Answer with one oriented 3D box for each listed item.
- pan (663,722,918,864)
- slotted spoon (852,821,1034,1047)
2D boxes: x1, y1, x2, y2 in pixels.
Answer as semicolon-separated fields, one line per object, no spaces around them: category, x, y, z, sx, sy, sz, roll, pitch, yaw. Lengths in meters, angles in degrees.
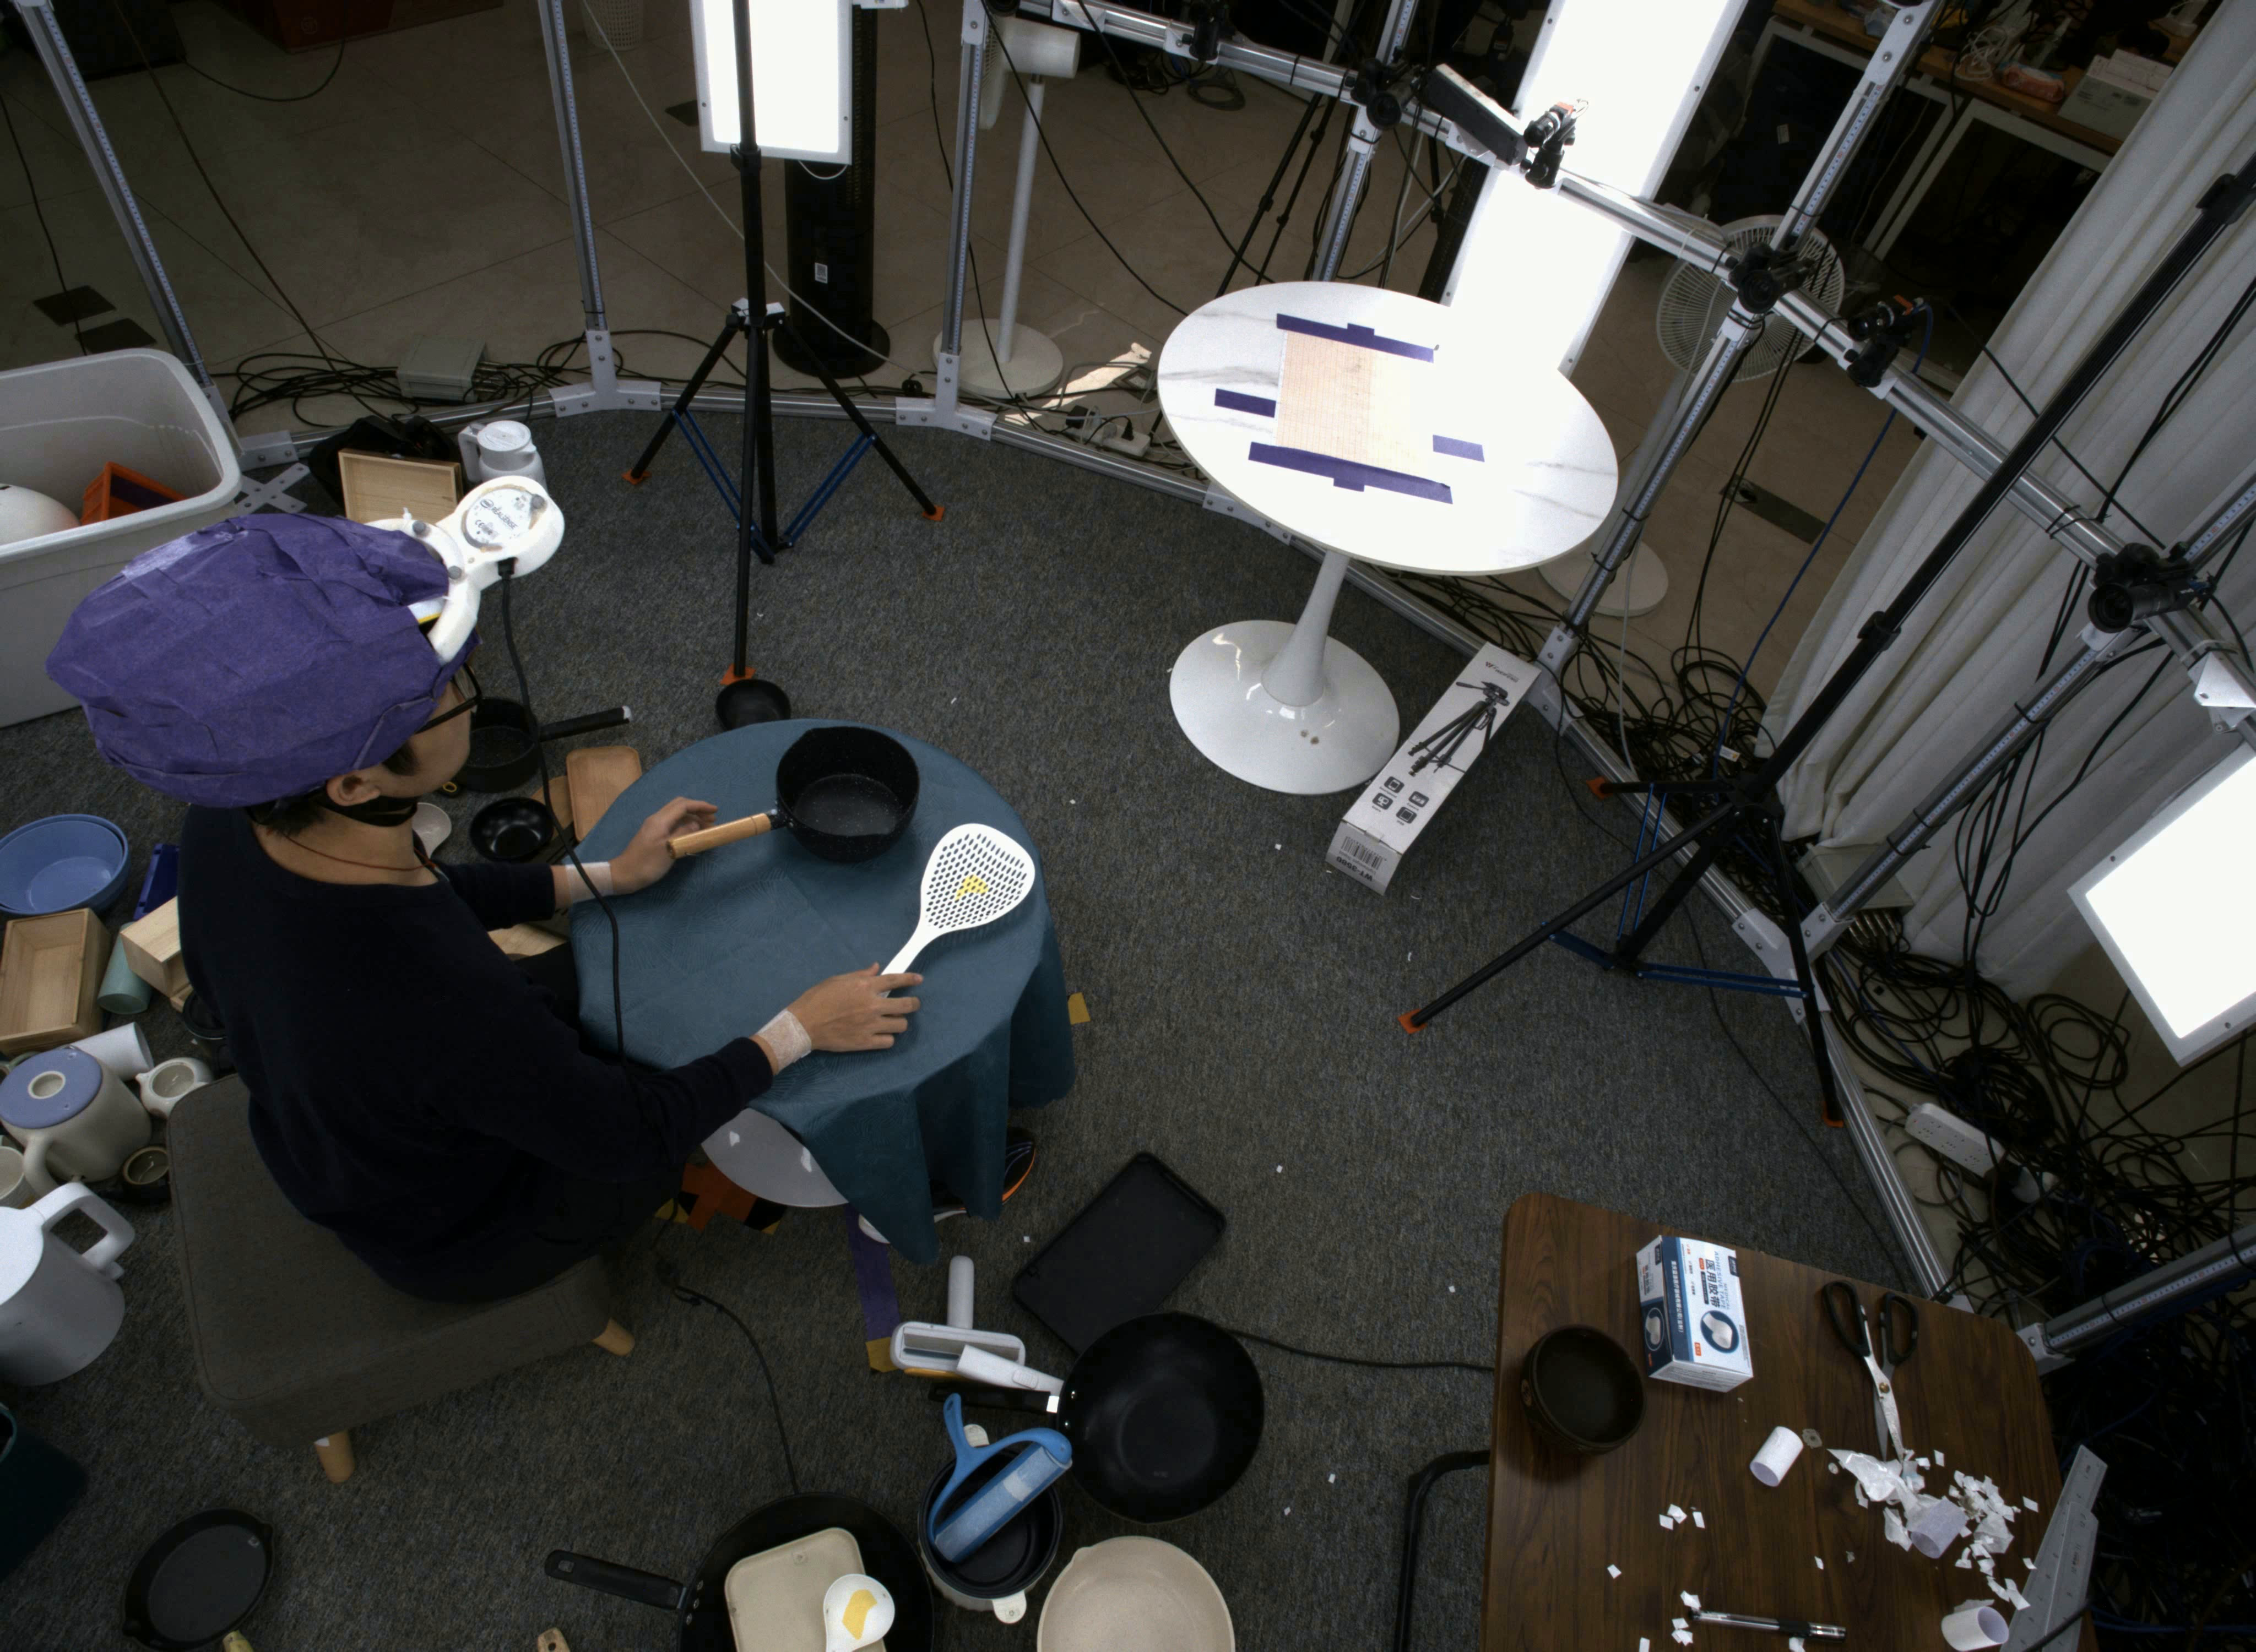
pan;-0.428;-0.012;1.652;0.344;0.110;0.203;-28;66;-32
slotted spoon;-0.246;0.132;1.635;0.136;0.051;0.346;34;51;3
